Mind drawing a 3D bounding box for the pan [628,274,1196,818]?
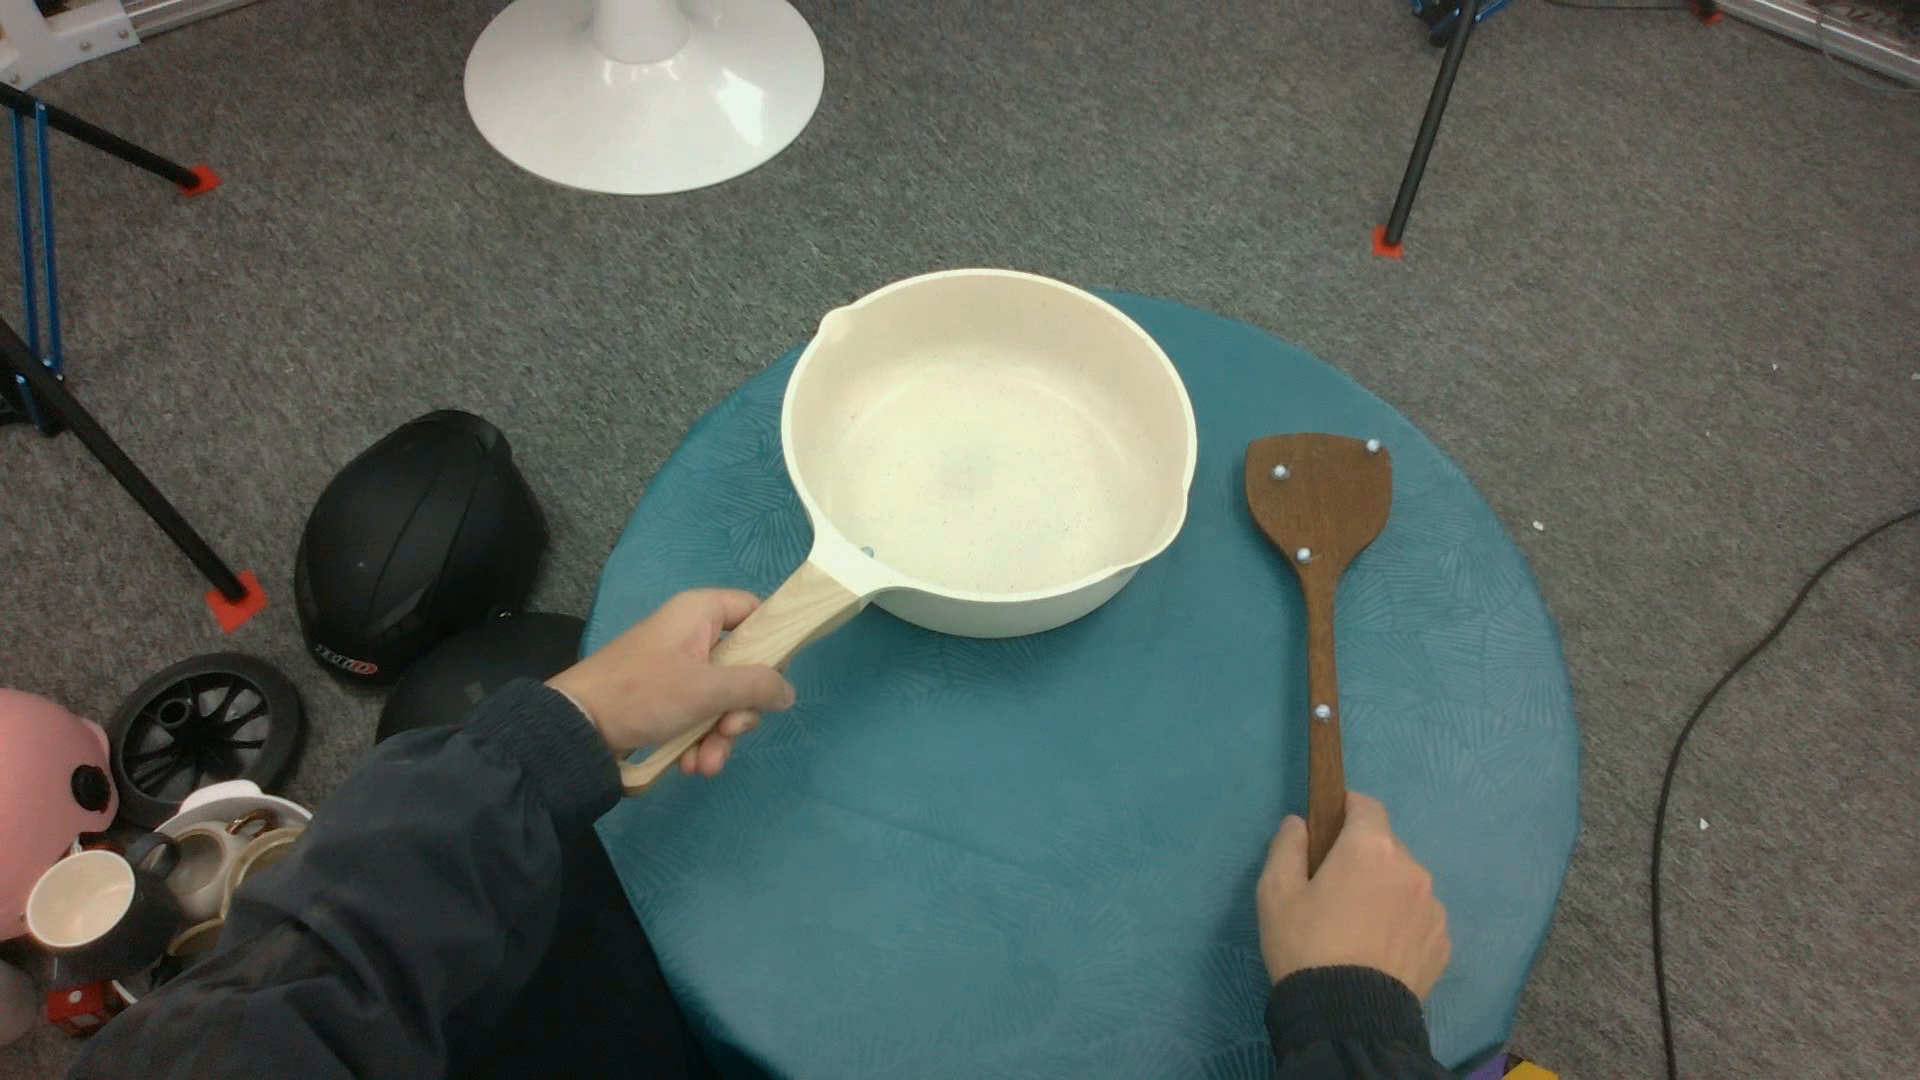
[{"bbox_3d":[-0.036,0.010,0.825,0.263,0.101,0.437,33,61,17],"label":"pan"}]

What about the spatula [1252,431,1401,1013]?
[{"bbox_3d":[0.225,0.084,0.815,0.096,0.016,0.388,1,53,9],"label":"spatula"}]
